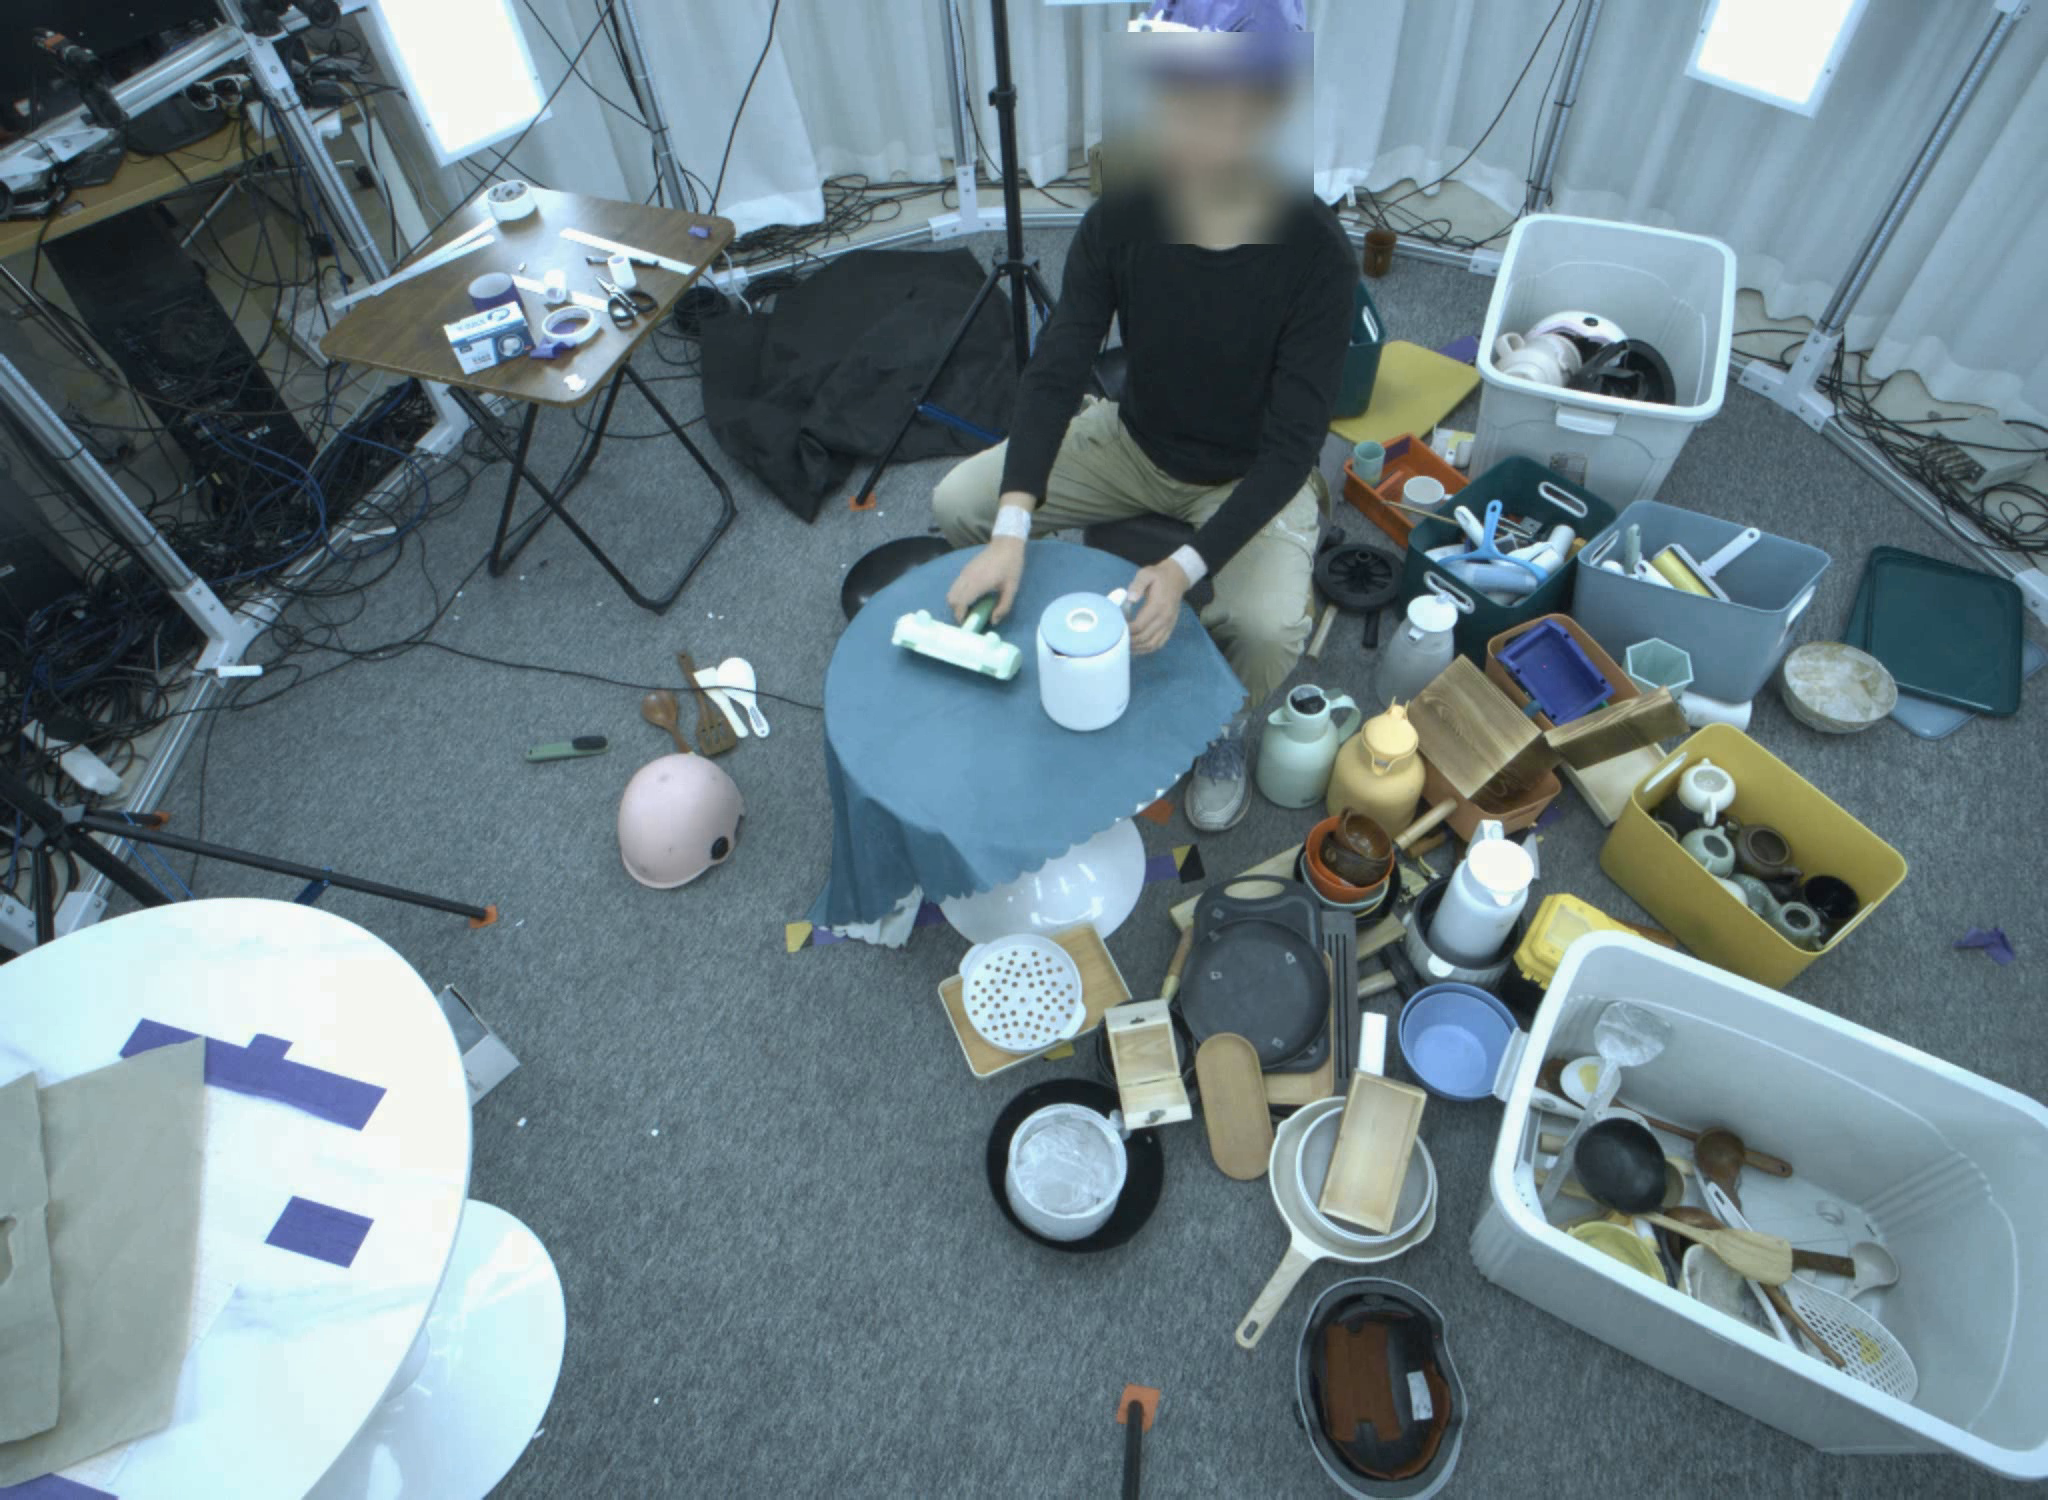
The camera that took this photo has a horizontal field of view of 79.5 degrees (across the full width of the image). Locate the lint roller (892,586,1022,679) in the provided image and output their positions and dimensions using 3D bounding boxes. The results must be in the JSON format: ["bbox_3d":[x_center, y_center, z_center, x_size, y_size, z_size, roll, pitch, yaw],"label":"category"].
[{"bbox_3d":[-0.080,-0.204,1.888,0.196,0.083,0.183,19,60,13],"label":"lint roller"}]

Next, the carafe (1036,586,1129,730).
[{"bbox_3d":[0.098,-0.144,1.780,0.130,0.184,0.192,27,58,20],"label":"carafe"}]
